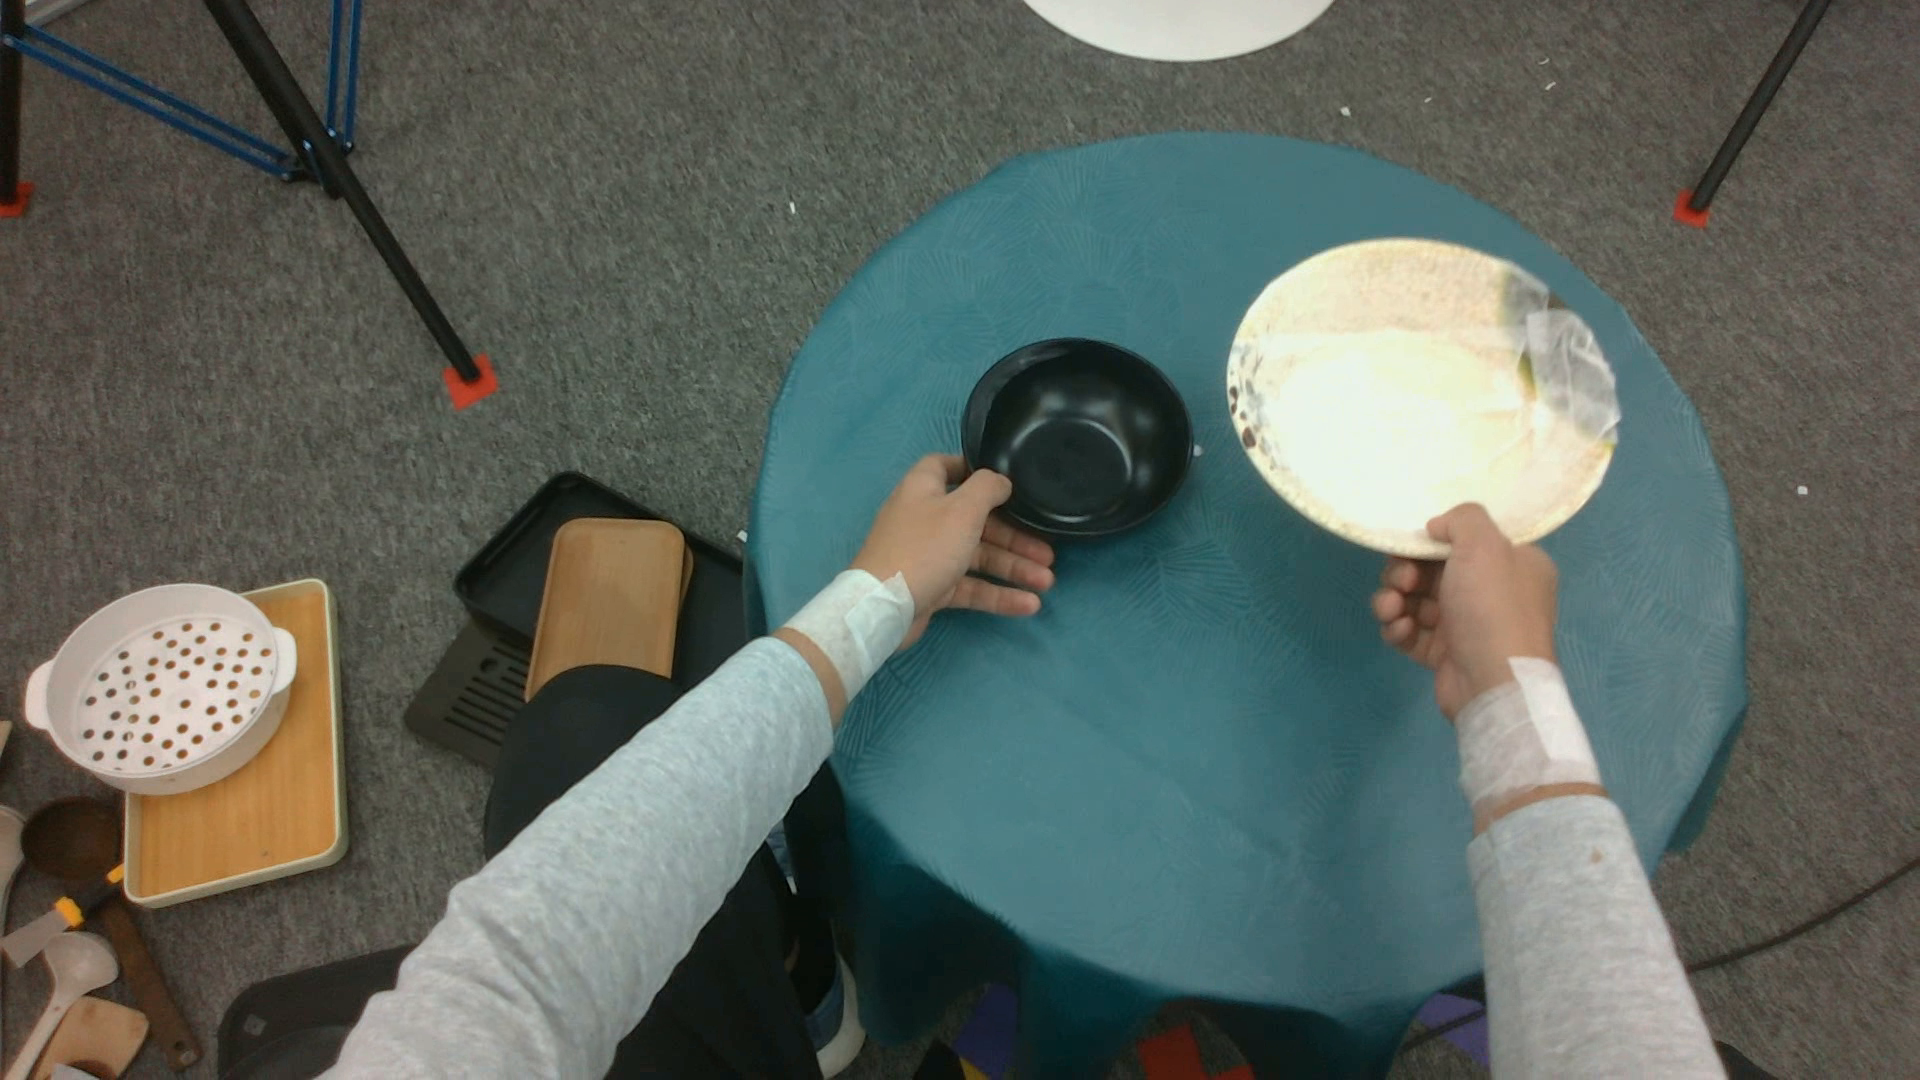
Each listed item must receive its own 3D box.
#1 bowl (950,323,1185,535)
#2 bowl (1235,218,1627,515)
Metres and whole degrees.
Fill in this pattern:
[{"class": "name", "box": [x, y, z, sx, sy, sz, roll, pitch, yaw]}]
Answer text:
[{"class": "bowl", "box": [0.064, -0.060, 0.833, 0.140, 0.049, 0.140, -1, 65, 2]}, {"class": "bowl", "box": [0.250, -0.080, 0.764, 0.204, 0.077, 0.205, -1, 58, 1]}]
